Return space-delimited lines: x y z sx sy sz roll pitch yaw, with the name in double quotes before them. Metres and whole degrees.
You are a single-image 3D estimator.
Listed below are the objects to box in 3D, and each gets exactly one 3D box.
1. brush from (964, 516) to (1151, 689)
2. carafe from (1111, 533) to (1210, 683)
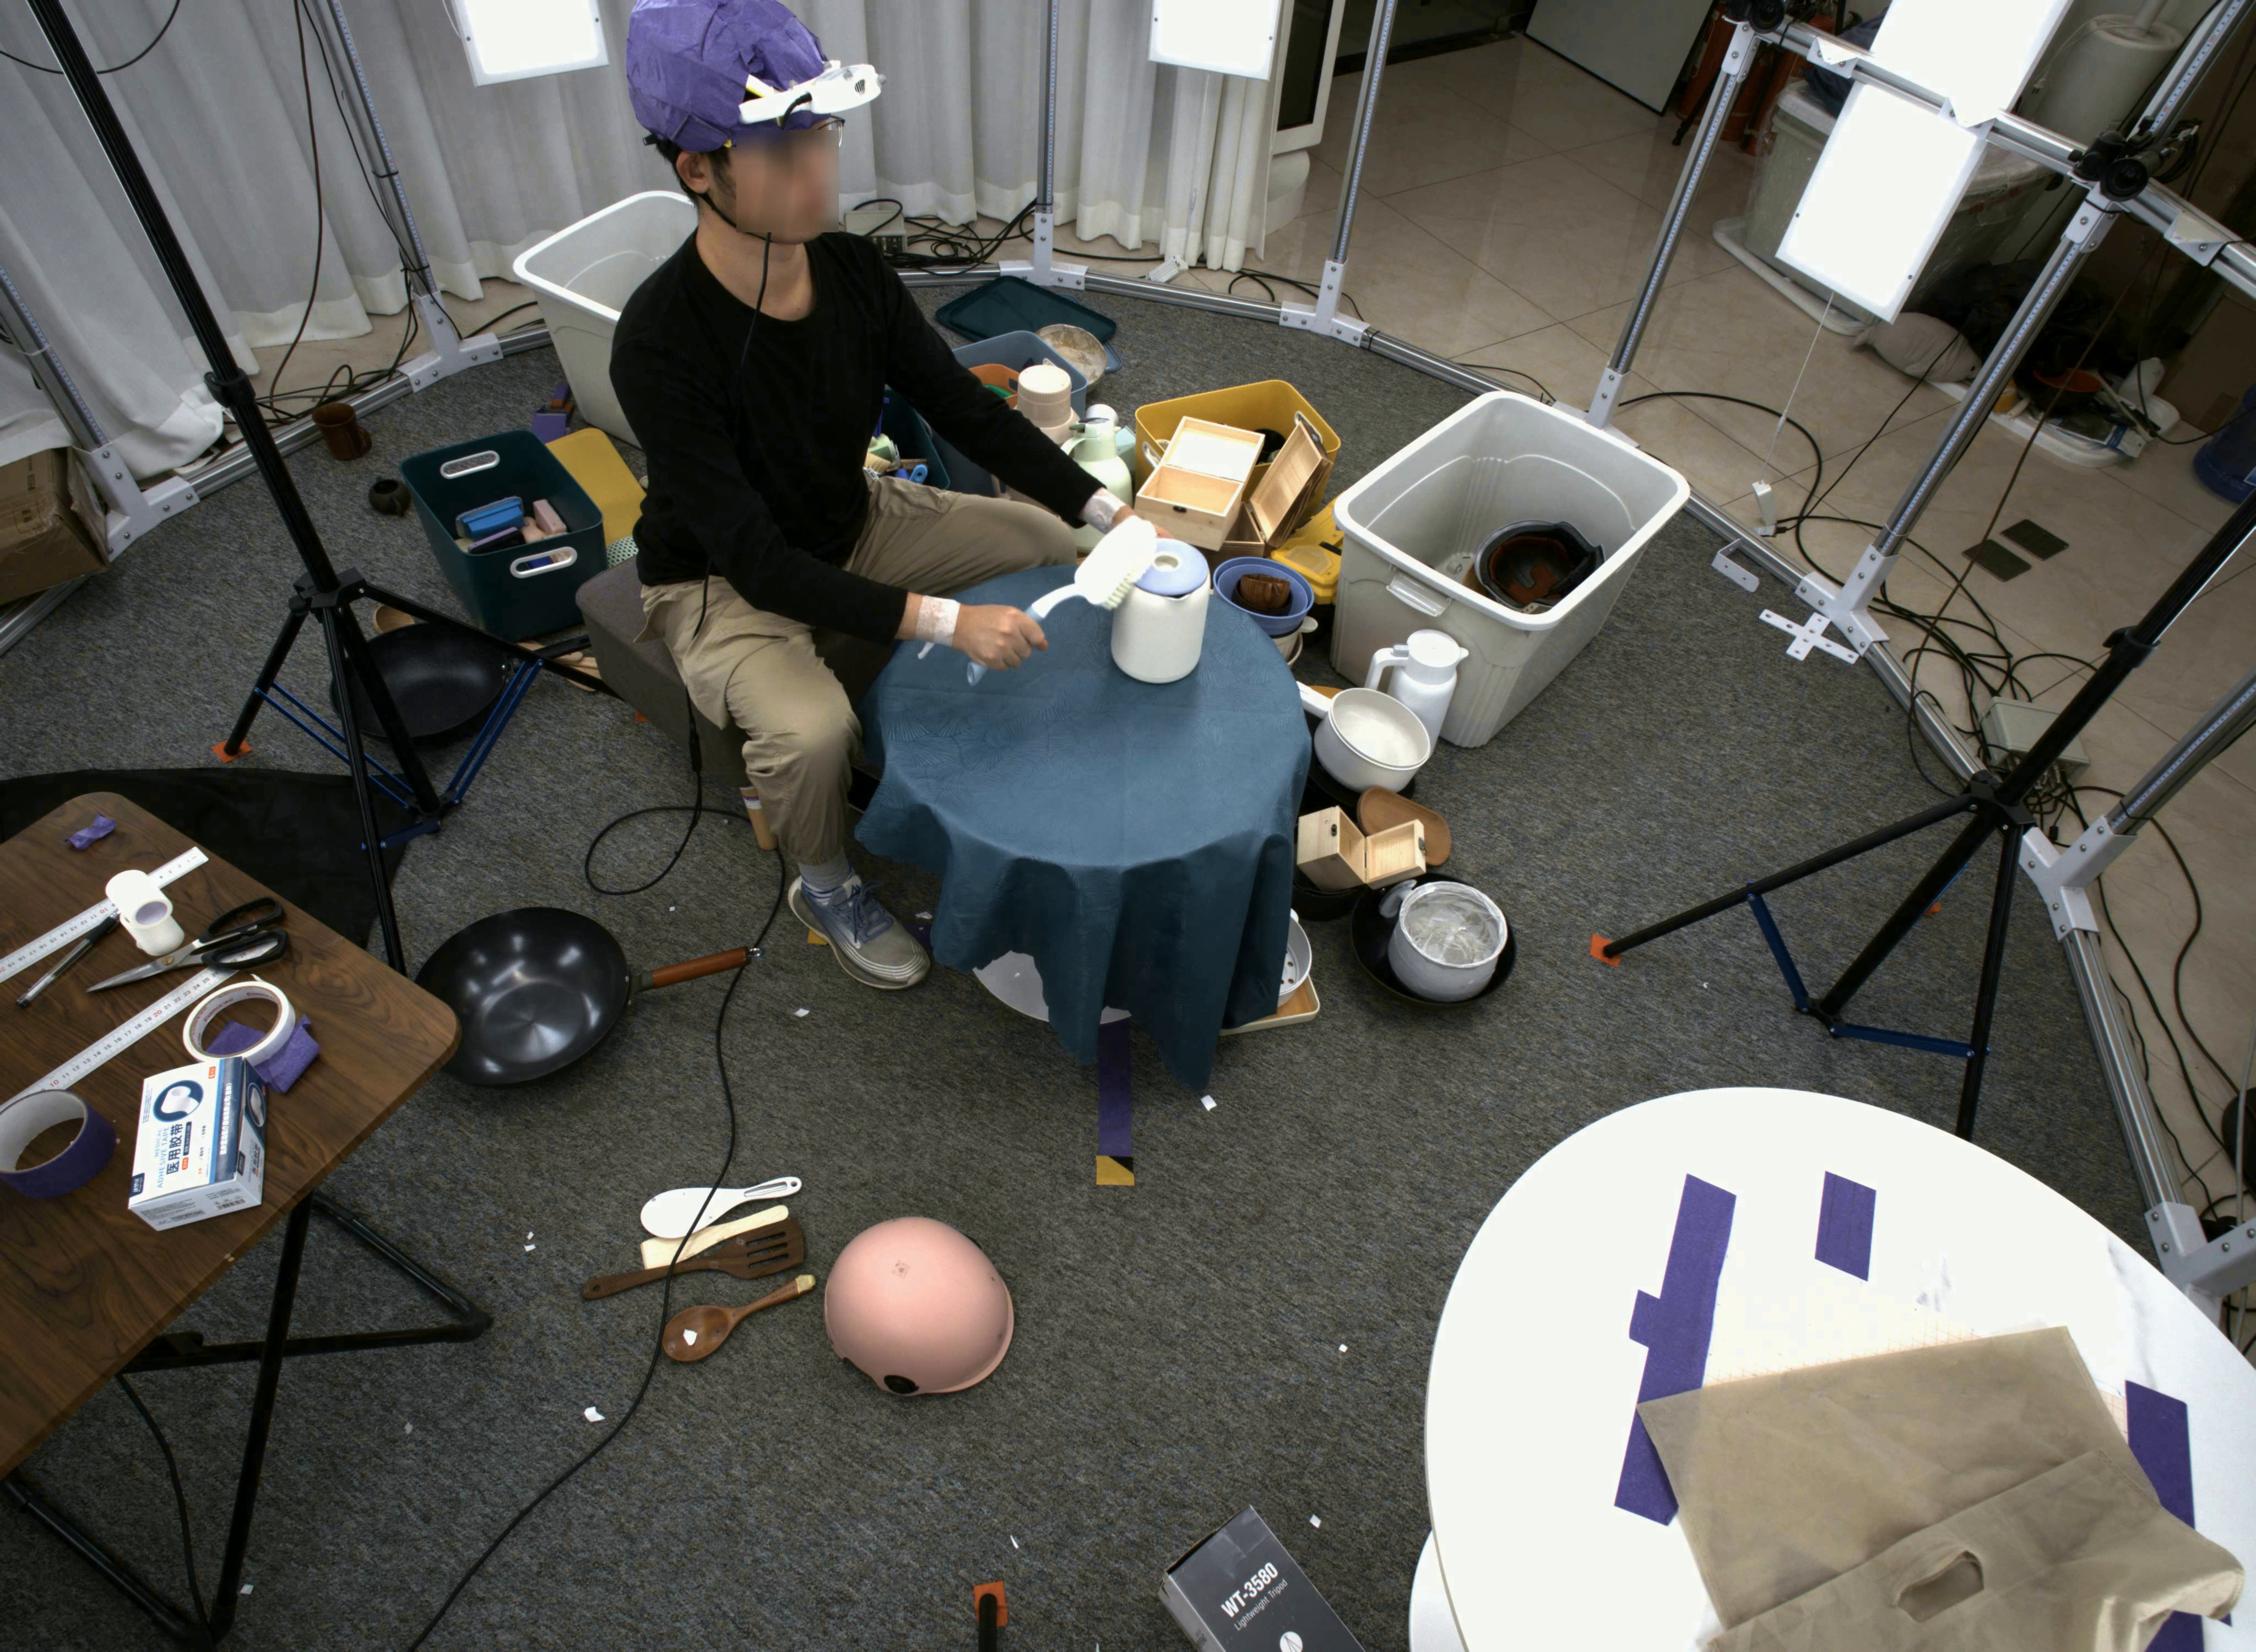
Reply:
"brush" -0.091 -0.293 1.755 0.324 0.083 0.084 -43 18 9
"carafe" 0.039 -0.324 1.842 0.132 0.178 0.196 -10 50 -14
